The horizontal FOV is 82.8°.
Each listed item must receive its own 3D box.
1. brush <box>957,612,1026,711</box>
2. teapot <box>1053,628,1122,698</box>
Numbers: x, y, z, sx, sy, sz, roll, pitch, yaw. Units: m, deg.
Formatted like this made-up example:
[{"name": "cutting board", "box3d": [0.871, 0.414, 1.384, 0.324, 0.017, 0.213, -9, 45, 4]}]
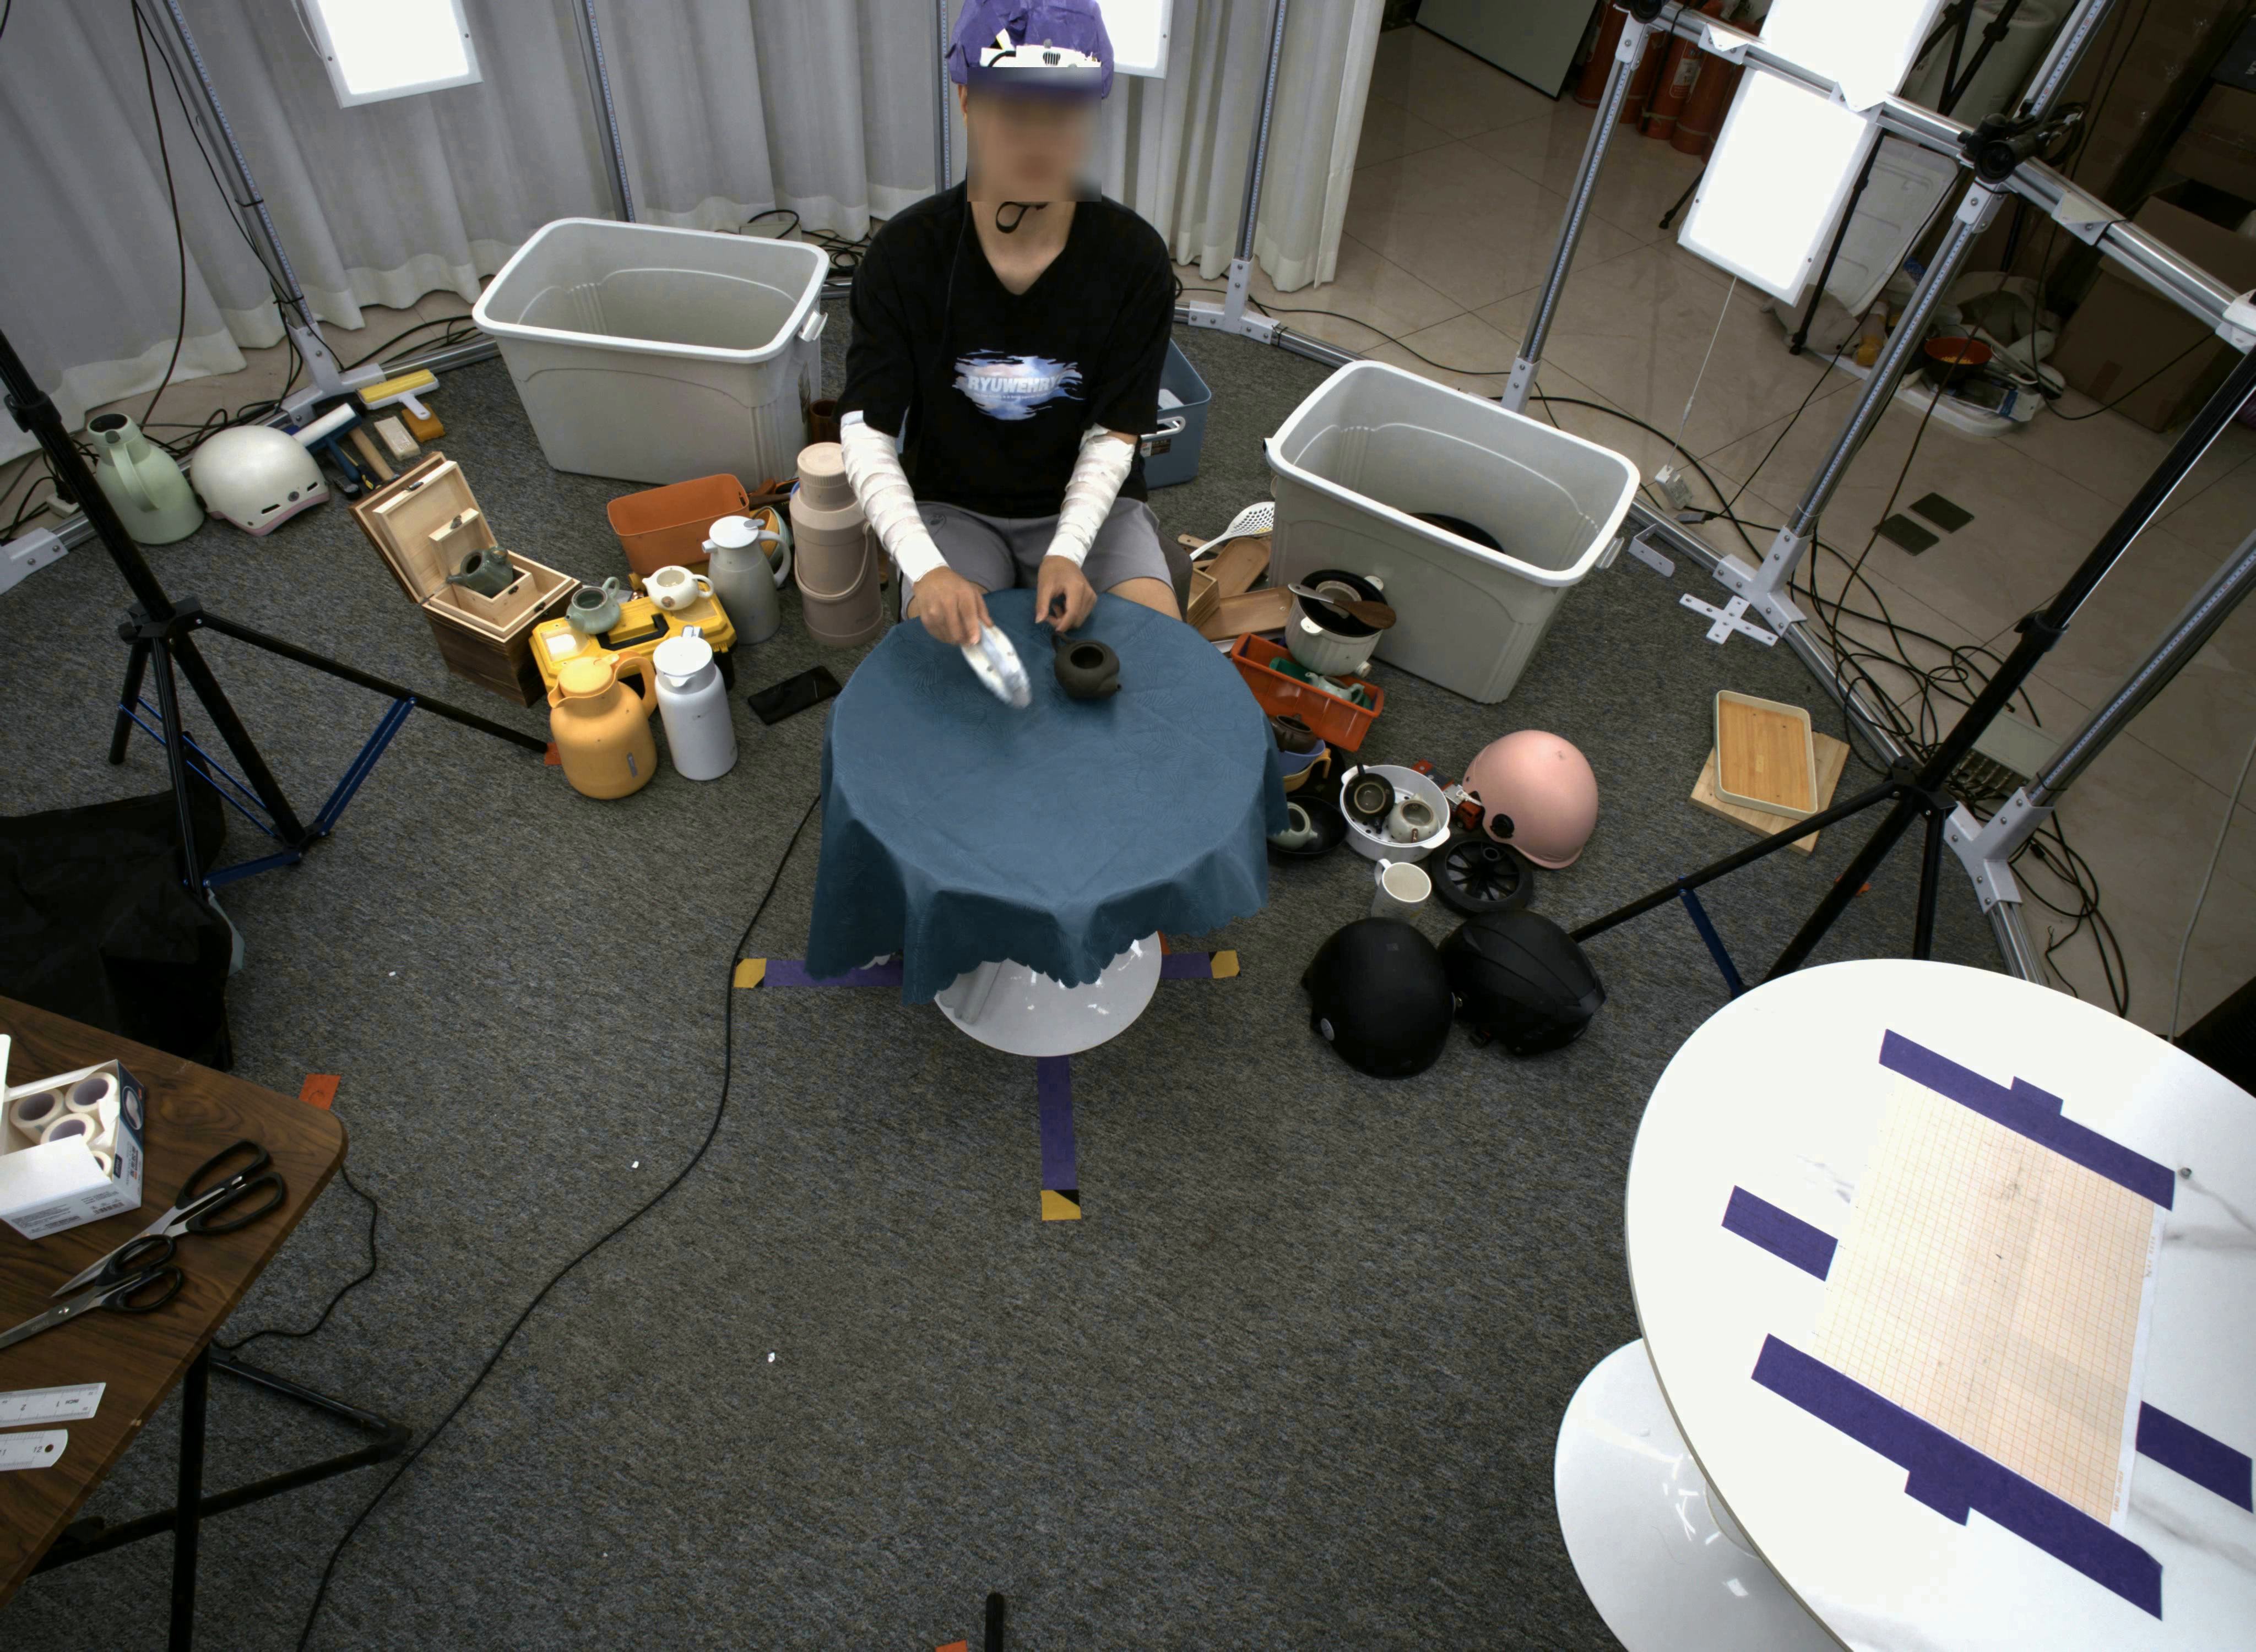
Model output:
[{"name": "brush", "box3d": [-0.189, -0.231, 1.759, 0.061, 0.092, 0.180, -32, 44, 2]}, {"name": "teapot", "box3d": [-0.059, -0.227, 1.823, 0.093, 0.063, 0.157, -29, 58, -25]}]
